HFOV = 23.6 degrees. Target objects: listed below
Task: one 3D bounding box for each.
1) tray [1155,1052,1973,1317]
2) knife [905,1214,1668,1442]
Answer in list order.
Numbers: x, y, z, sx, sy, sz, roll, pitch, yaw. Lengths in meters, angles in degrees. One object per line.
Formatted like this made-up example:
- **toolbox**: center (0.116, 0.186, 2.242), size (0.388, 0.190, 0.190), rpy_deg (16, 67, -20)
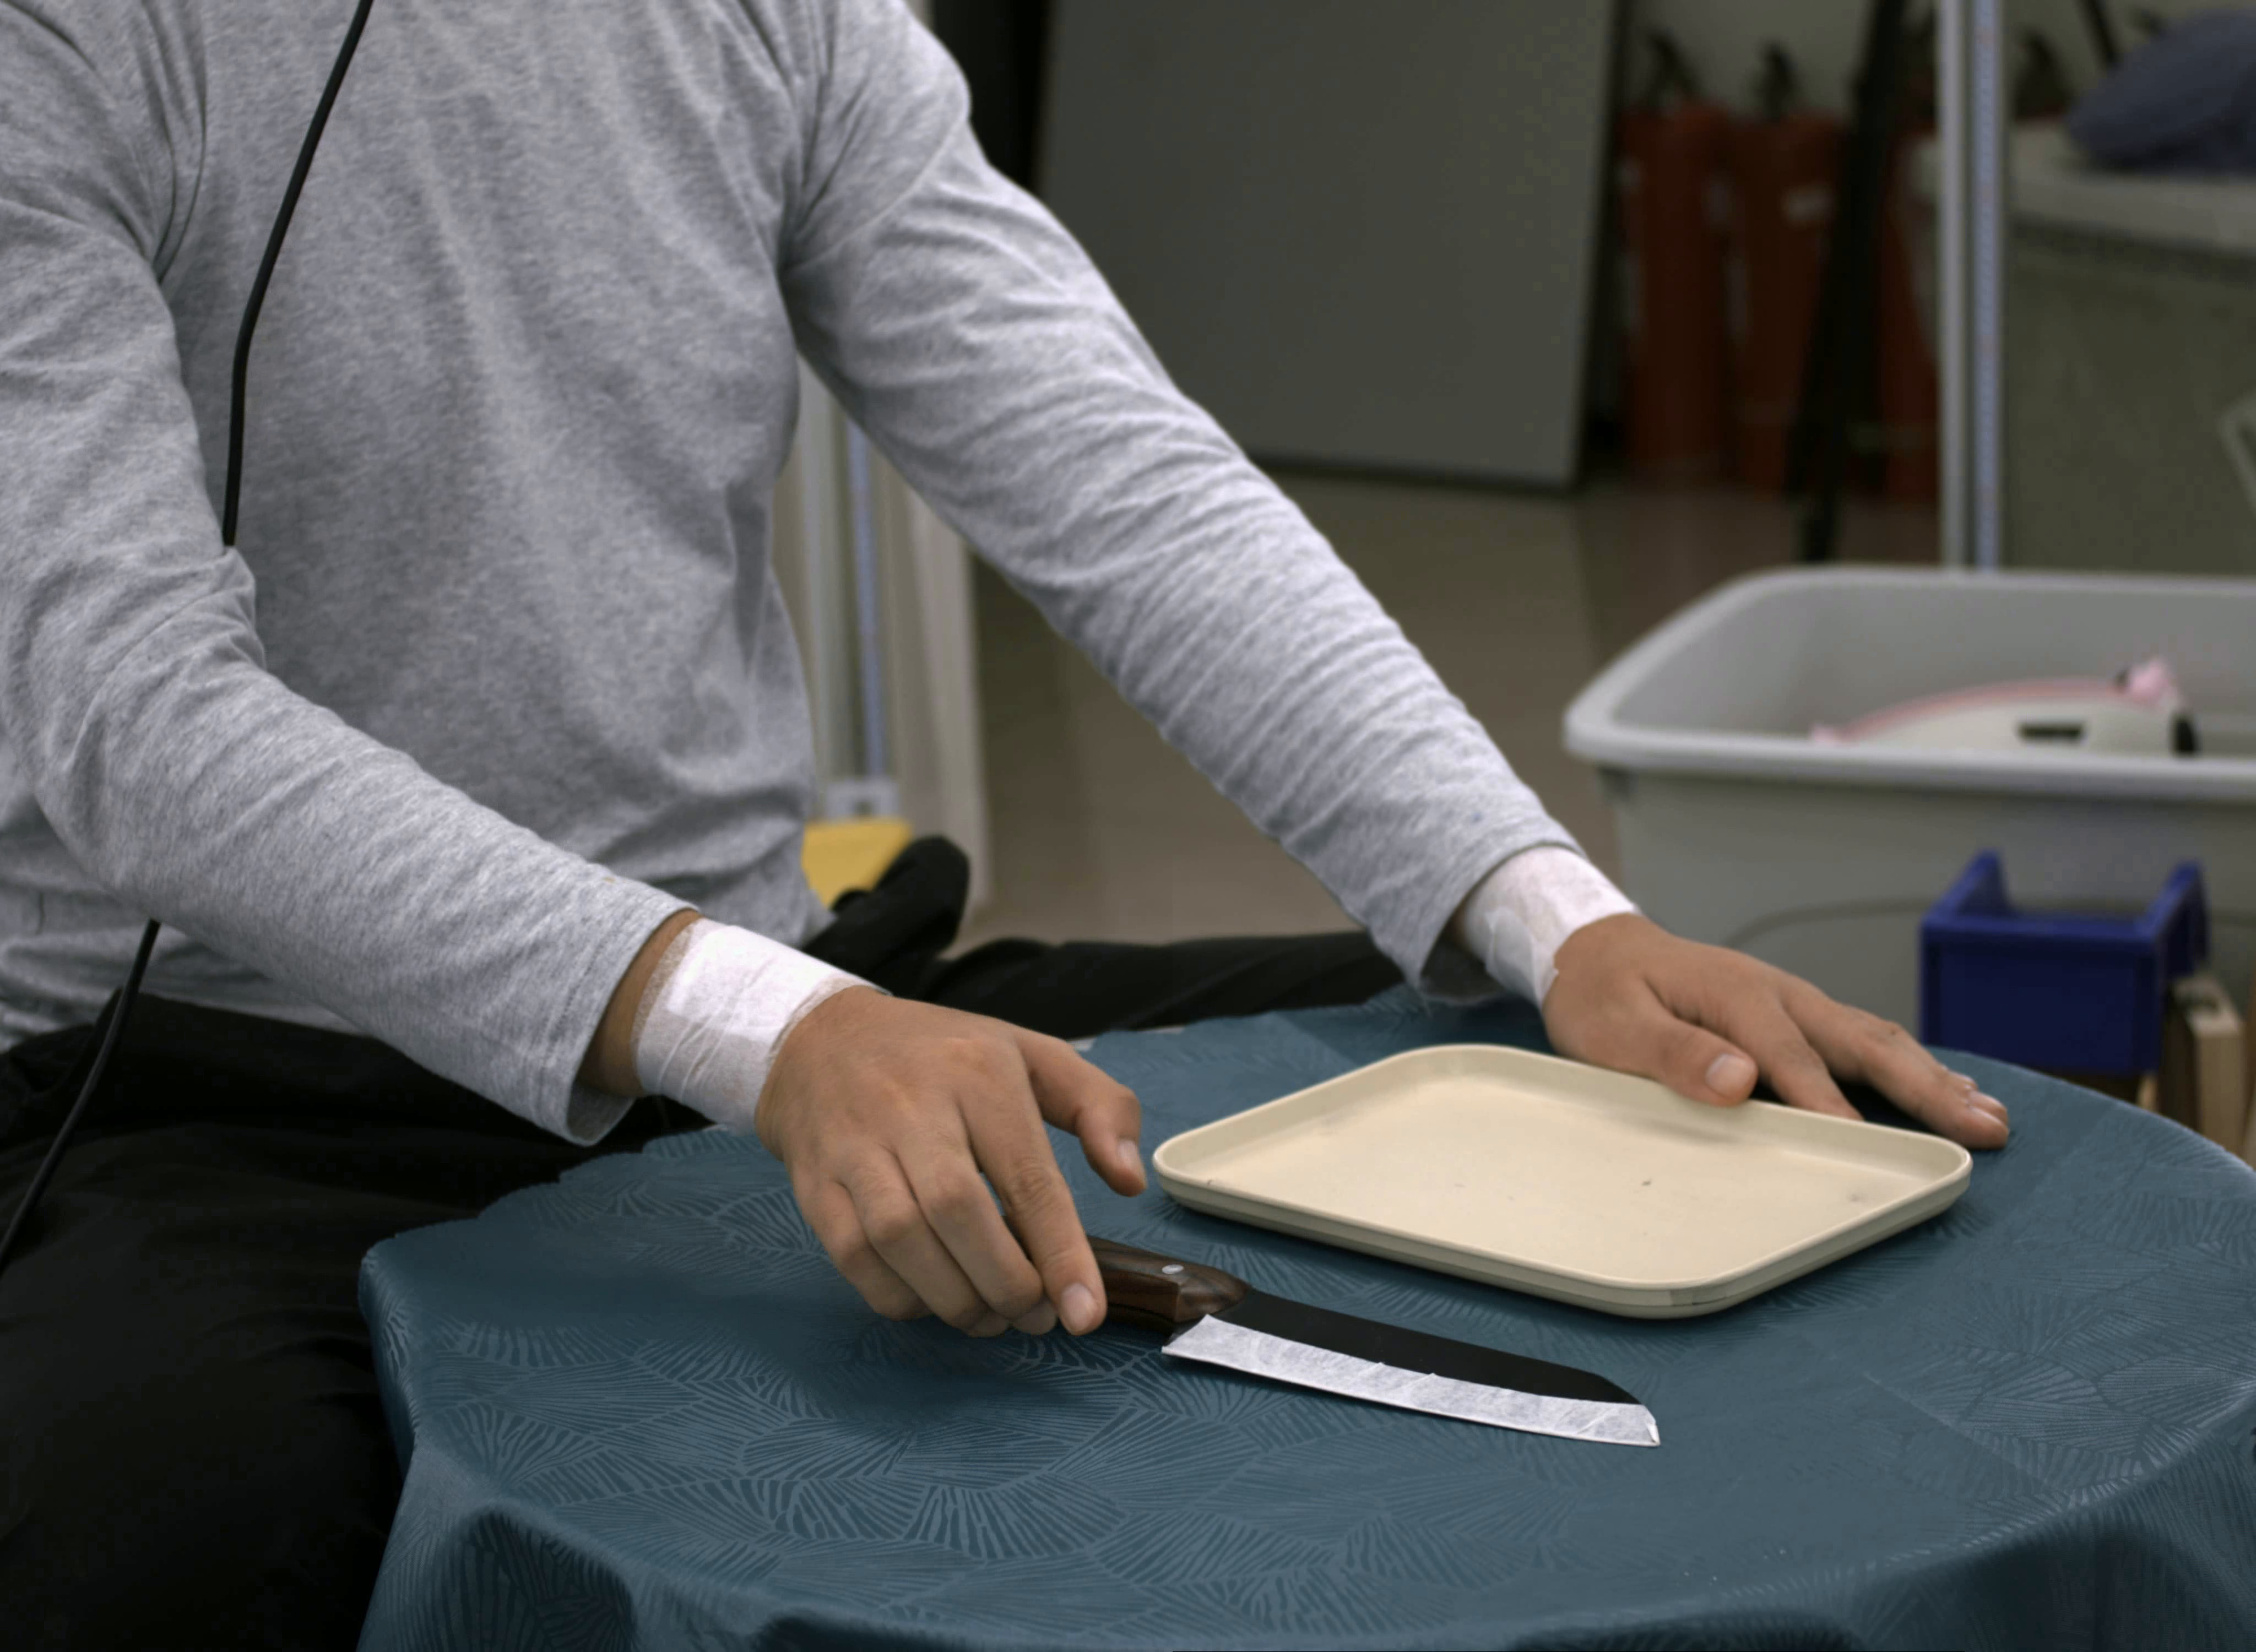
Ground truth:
- **tray**: center (0.138, 0.114, 1.728), size (0.168, 0.017, 0.242), rpy_deg (-16, 18, -42)
- **knife**: center (0.042, 0.151, 1.607), size (0.291, 0.020, 0.049), rpy_deg (10, 26, 39)
